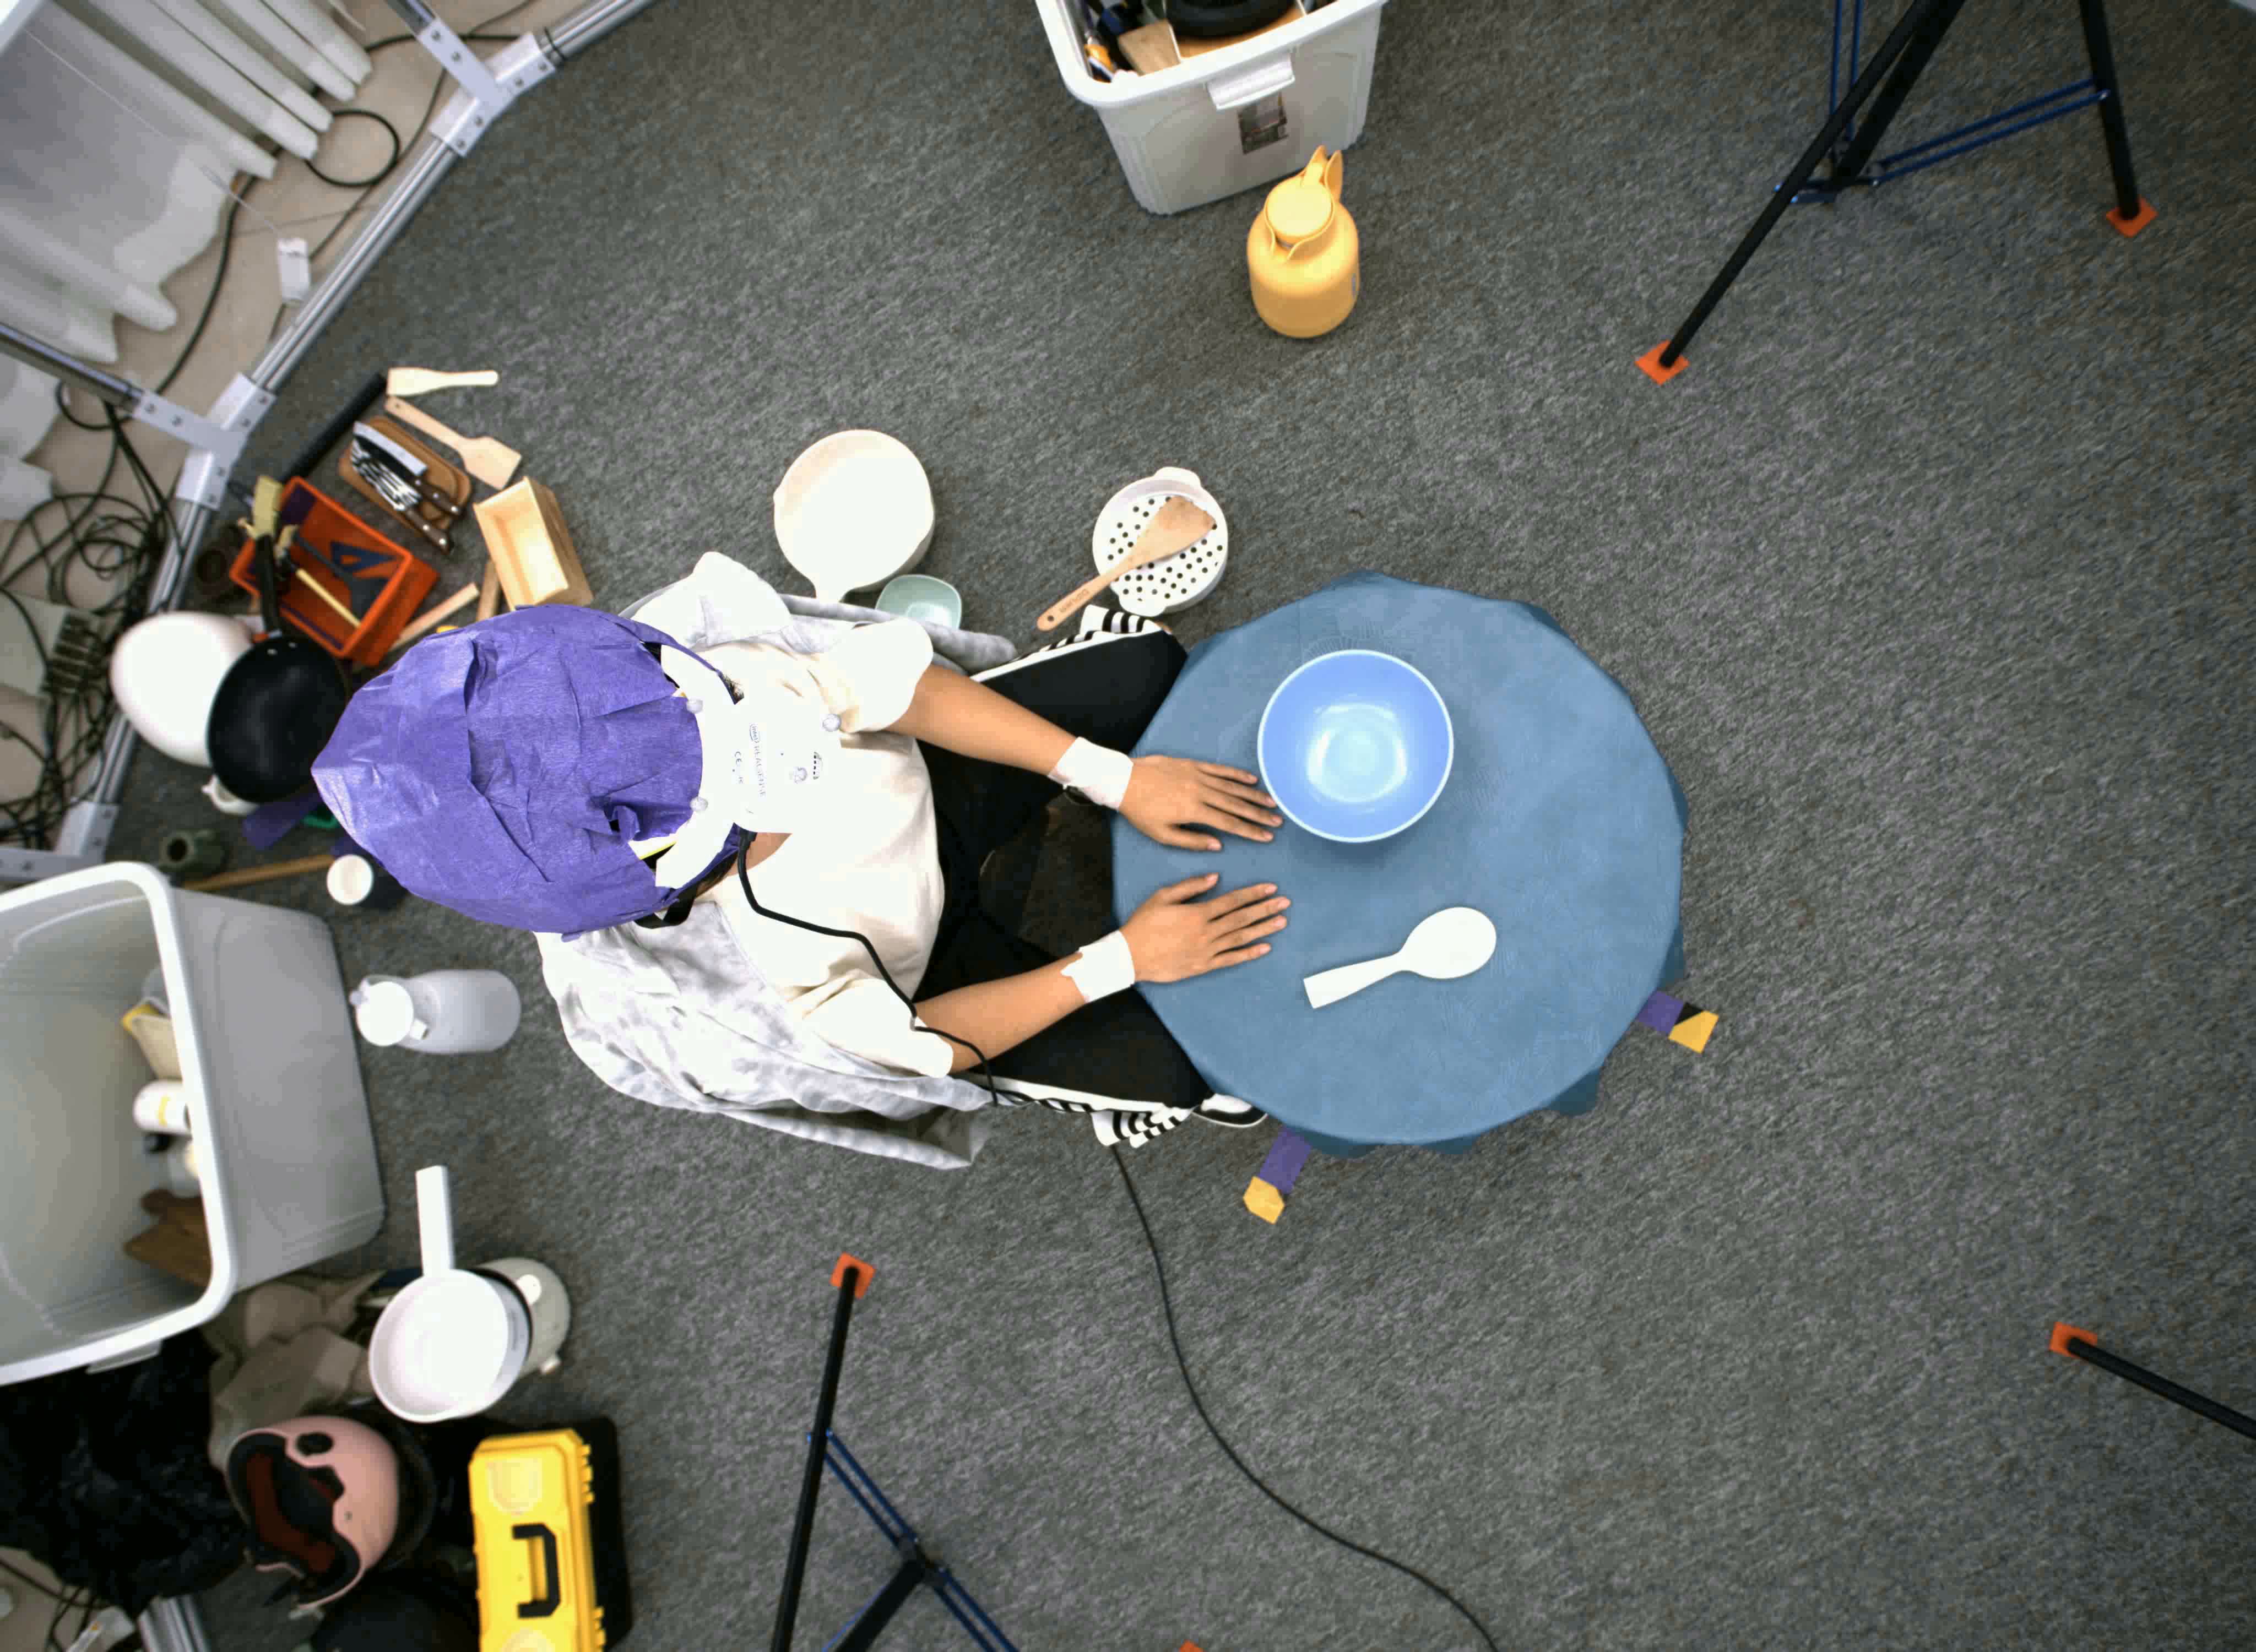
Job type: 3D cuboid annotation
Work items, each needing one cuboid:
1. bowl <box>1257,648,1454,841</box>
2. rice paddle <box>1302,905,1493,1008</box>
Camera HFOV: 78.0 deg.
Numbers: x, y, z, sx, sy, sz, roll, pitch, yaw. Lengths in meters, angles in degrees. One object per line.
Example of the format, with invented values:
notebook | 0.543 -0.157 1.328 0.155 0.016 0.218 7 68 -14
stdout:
bowl | 0.234 -0.079 1.424 0.197 0.095 0.195 -1 87 9
rice paddle | 0.281 0.138 1.437 0.206 0.029 0.068 -21 84 9
